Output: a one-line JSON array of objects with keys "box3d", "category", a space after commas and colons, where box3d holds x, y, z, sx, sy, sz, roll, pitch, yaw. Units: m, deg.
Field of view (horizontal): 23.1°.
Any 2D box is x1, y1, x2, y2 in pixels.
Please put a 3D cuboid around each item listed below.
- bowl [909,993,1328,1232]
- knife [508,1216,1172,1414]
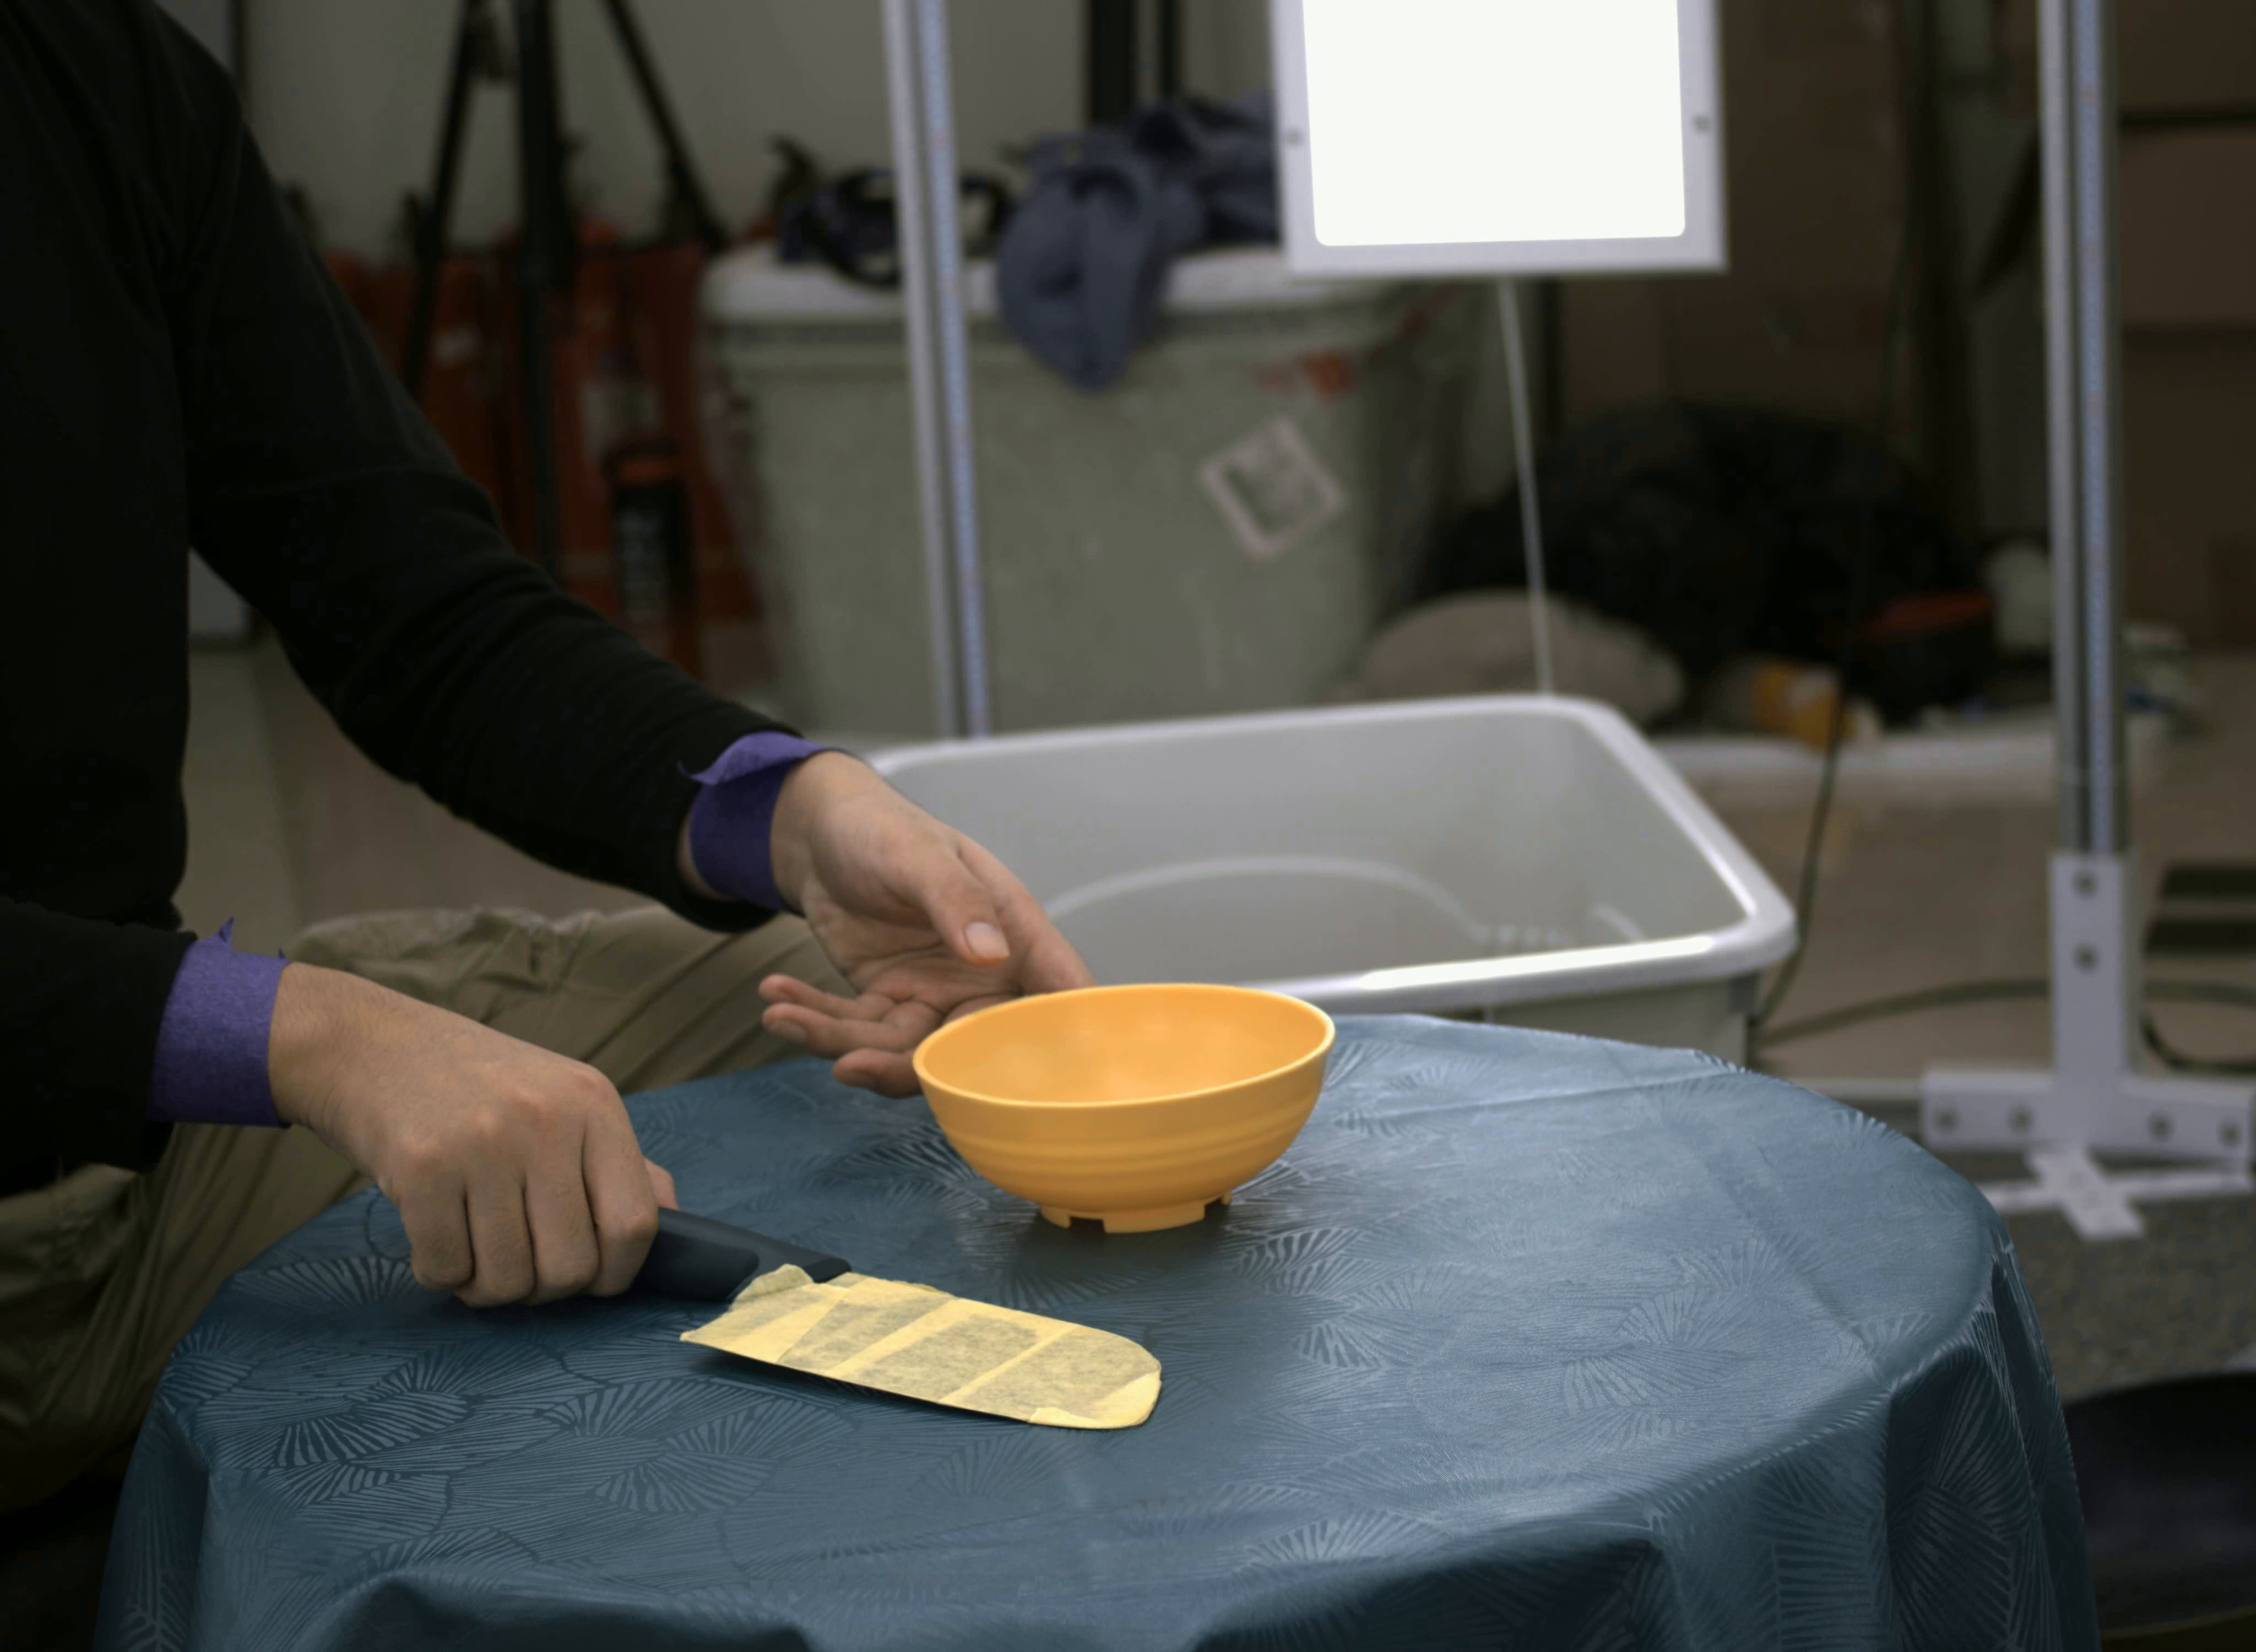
[{"box3d": [-0.003, 0.101, 1.878, 0.145, 0.060, 0.145, -3, 12, -1], "category": "bowl"}, {"box3d": [-0.102, 0.159, 1.776, 0.295, 0.027, 0.079, 8, 18, 40], "category": "knife"}]
